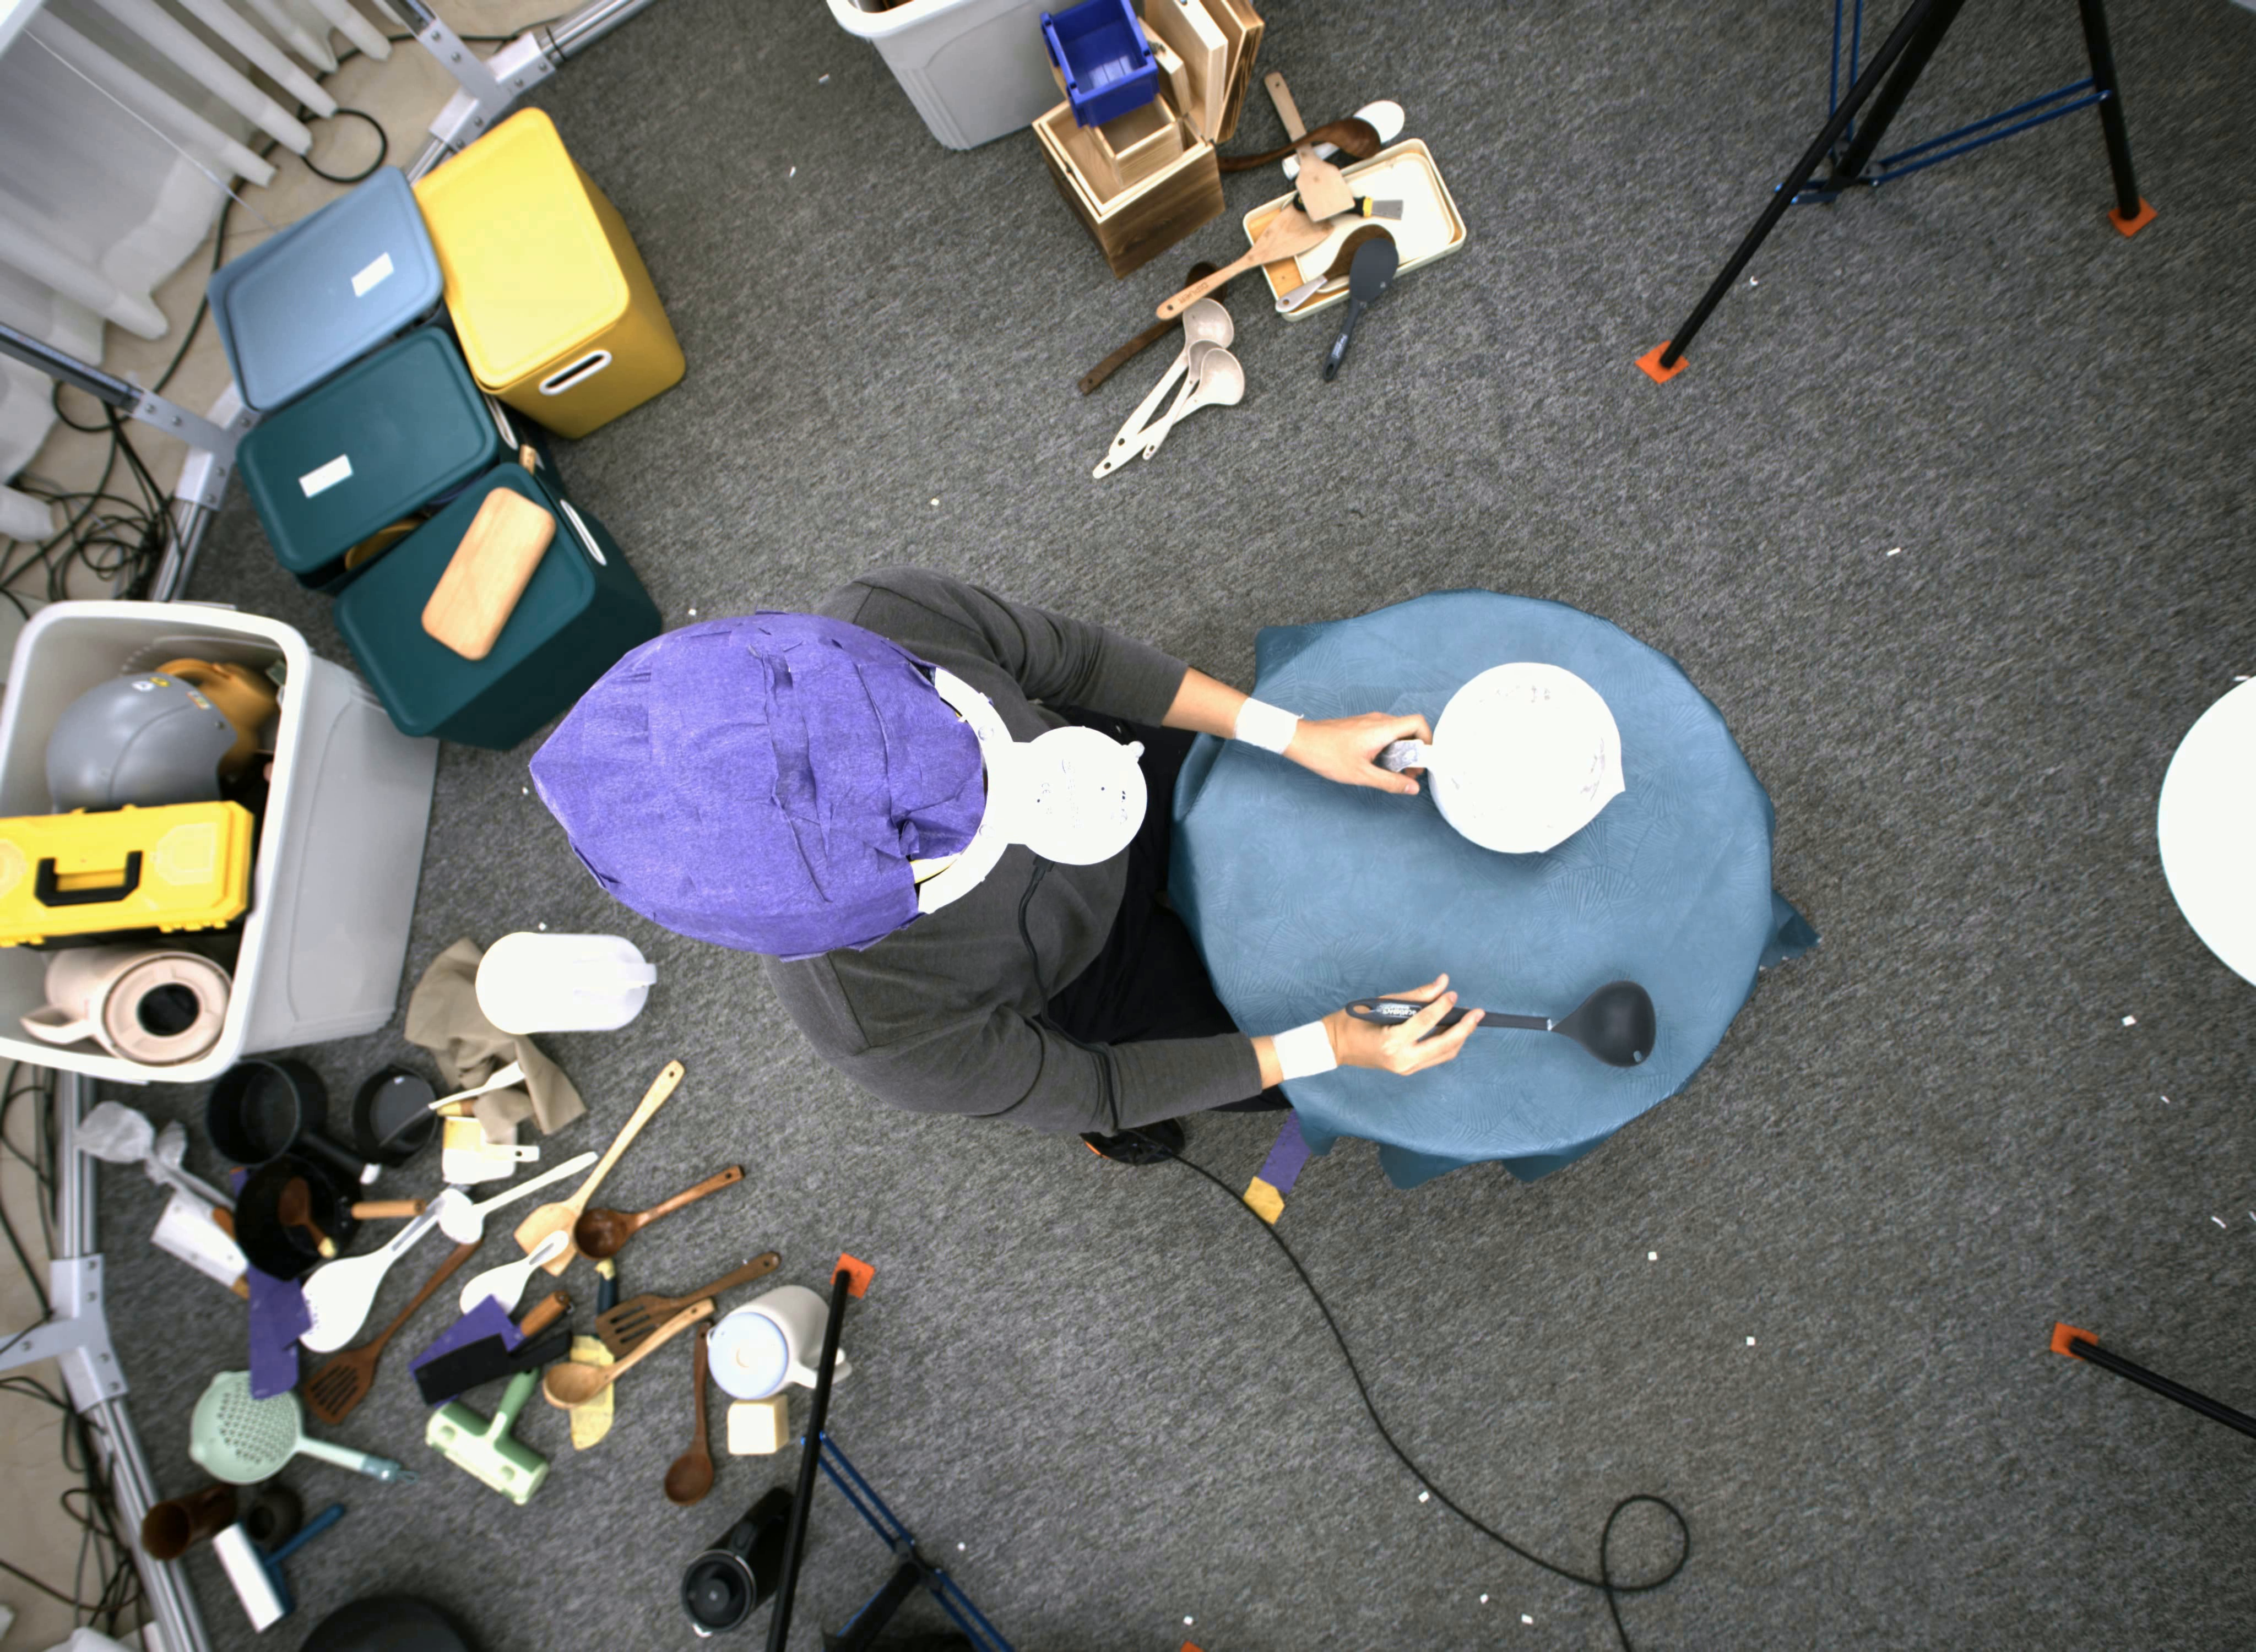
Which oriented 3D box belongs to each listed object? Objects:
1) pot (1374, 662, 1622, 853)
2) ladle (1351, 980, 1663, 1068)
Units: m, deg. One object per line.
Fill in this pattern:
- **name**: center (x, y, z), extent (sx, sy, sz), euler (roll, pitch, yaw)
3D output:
- **pot**: center (0.365, -0.067, 1.380), extent (0.234, 0.137, 0.178), euler (1, 86, 11)
- **ladle**: center (0.368, 0.181, 1.326), extent (0.313, 0.065, 0.085), euler (6, 71, -15)
